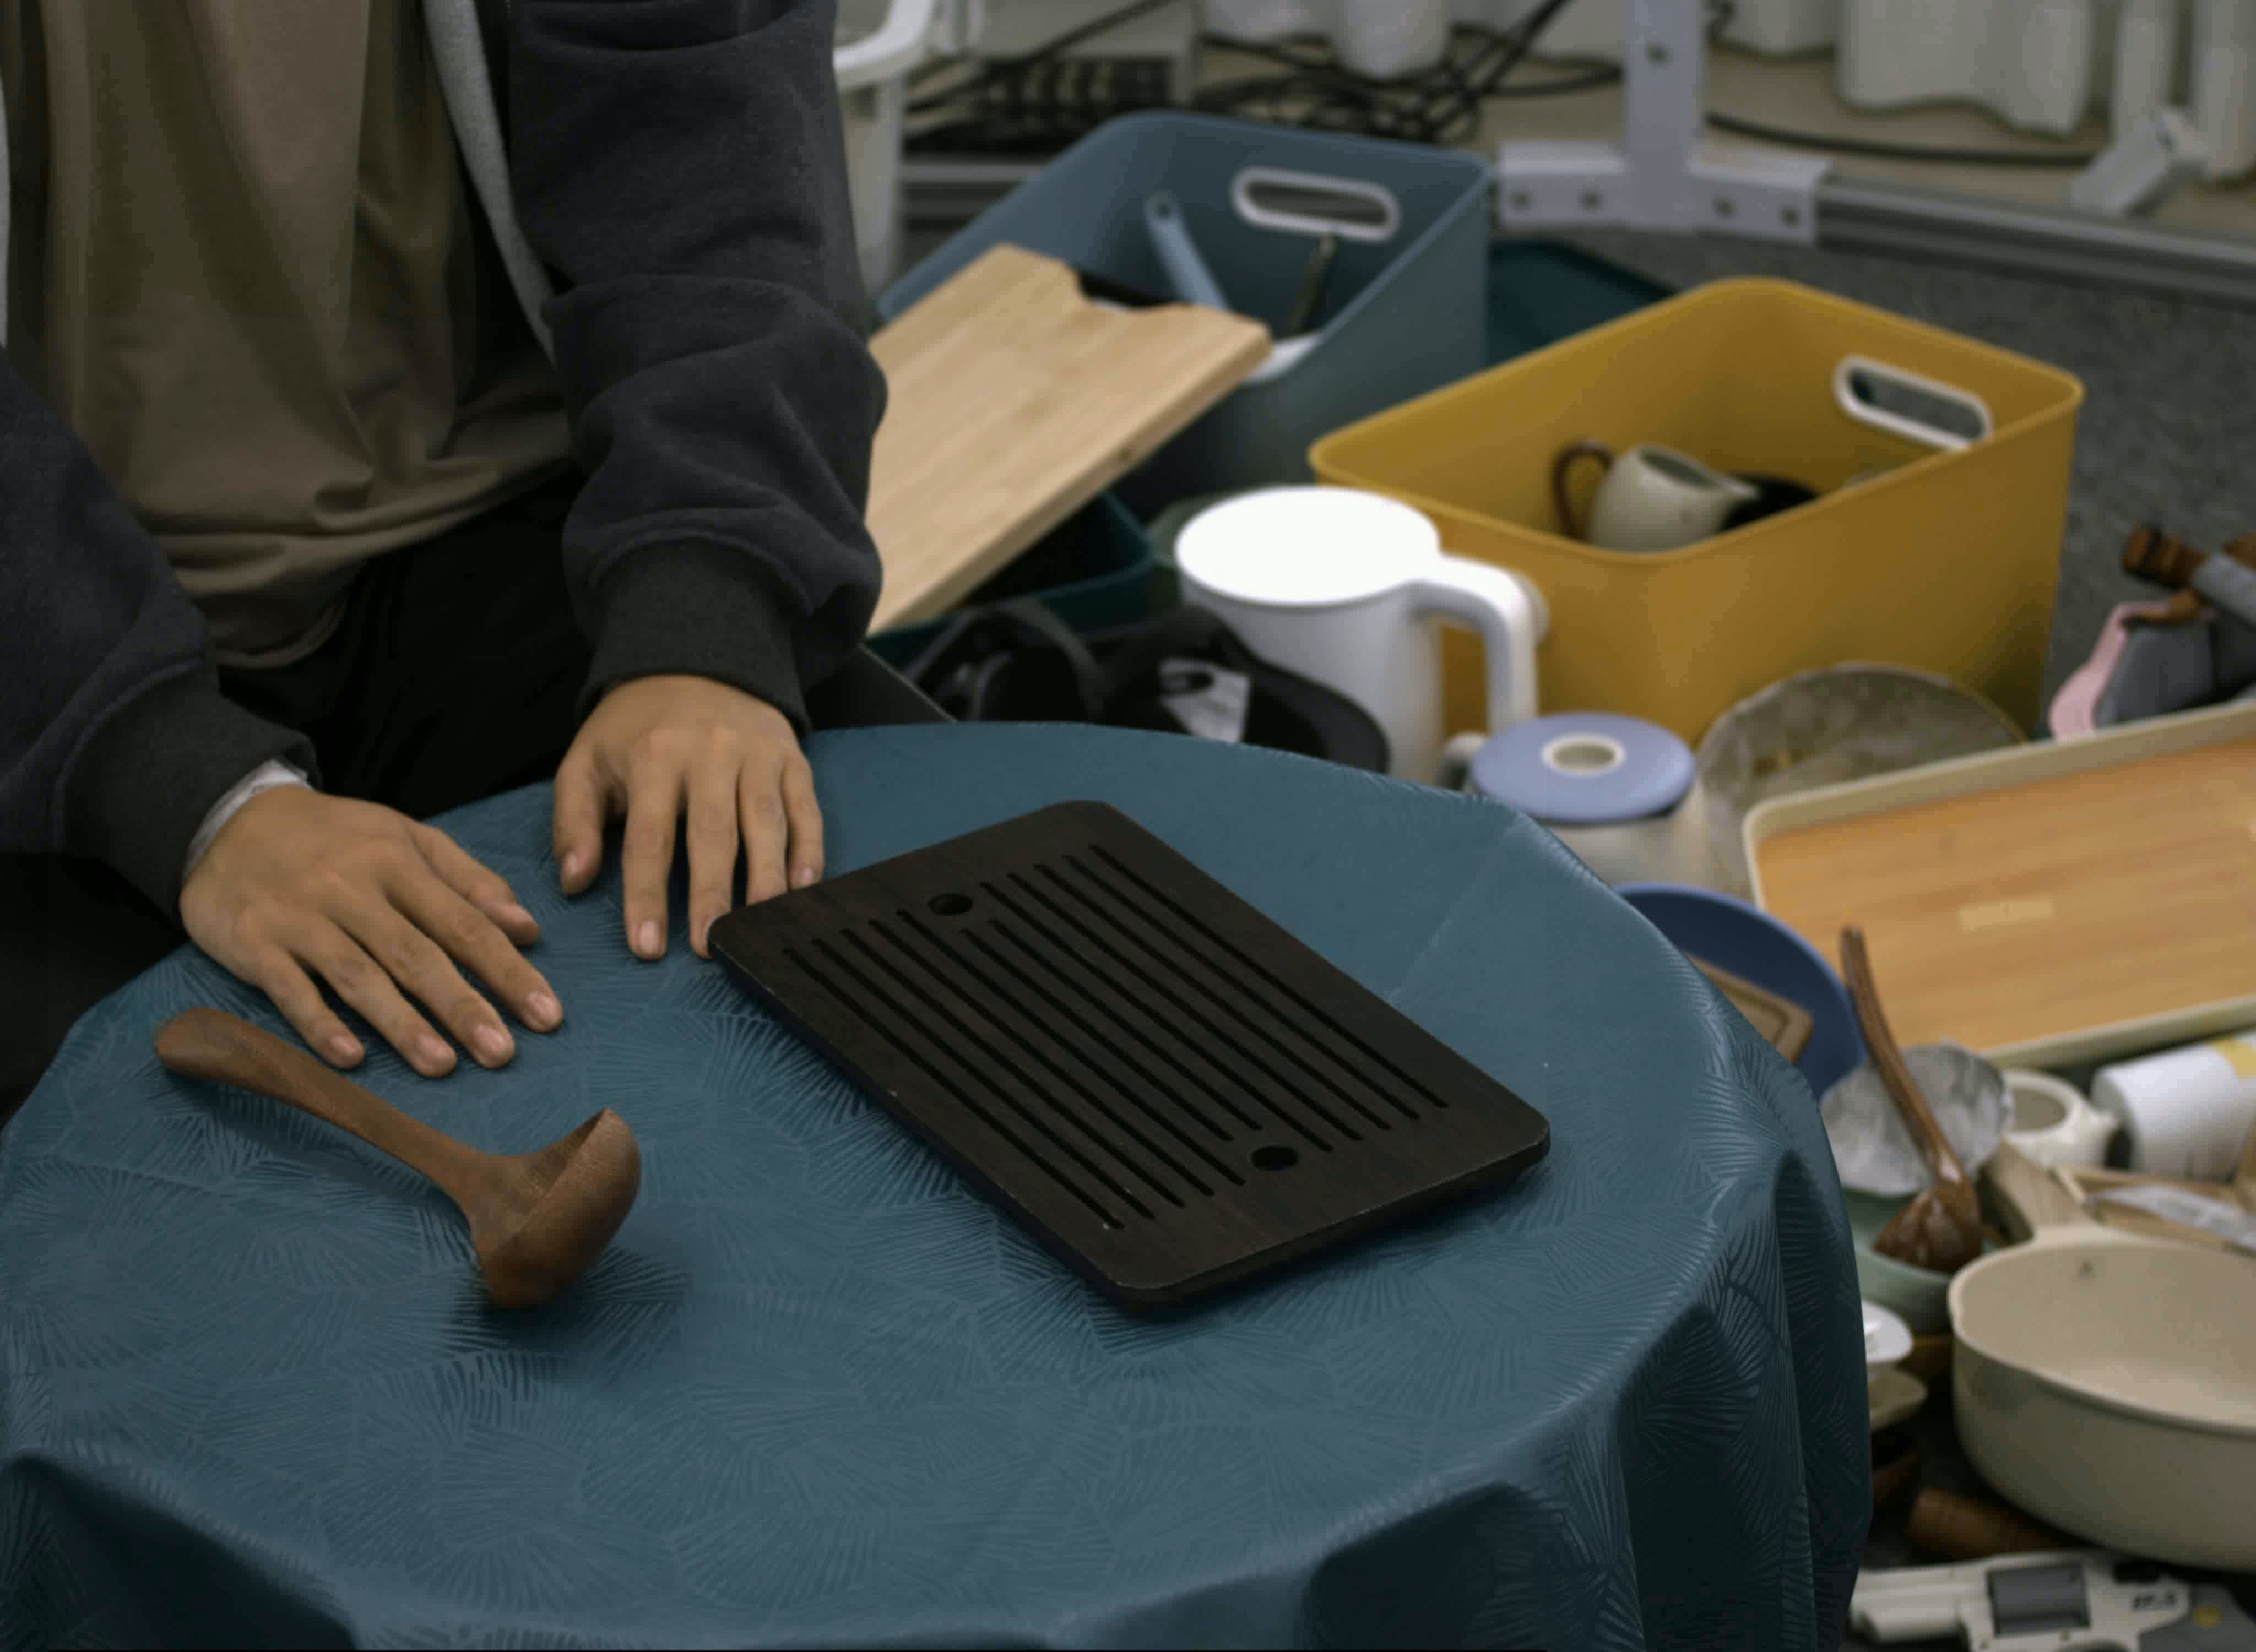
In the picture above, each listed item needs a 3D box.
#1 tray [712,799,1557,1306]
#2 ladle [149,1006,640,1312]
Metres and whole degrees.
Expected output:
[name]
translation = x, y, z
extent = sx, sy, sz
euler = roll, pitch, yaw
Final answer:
[tray]
translation = -0.003, 0.074, 1.935
extent = 0.171, 0.018, 0.307
euler = -18, 31, -26
[ladle]
translation = -0.256, 0.096, 1.871
extent = 0.260, 0.064, 0.077
euler = 23, 63, 40
